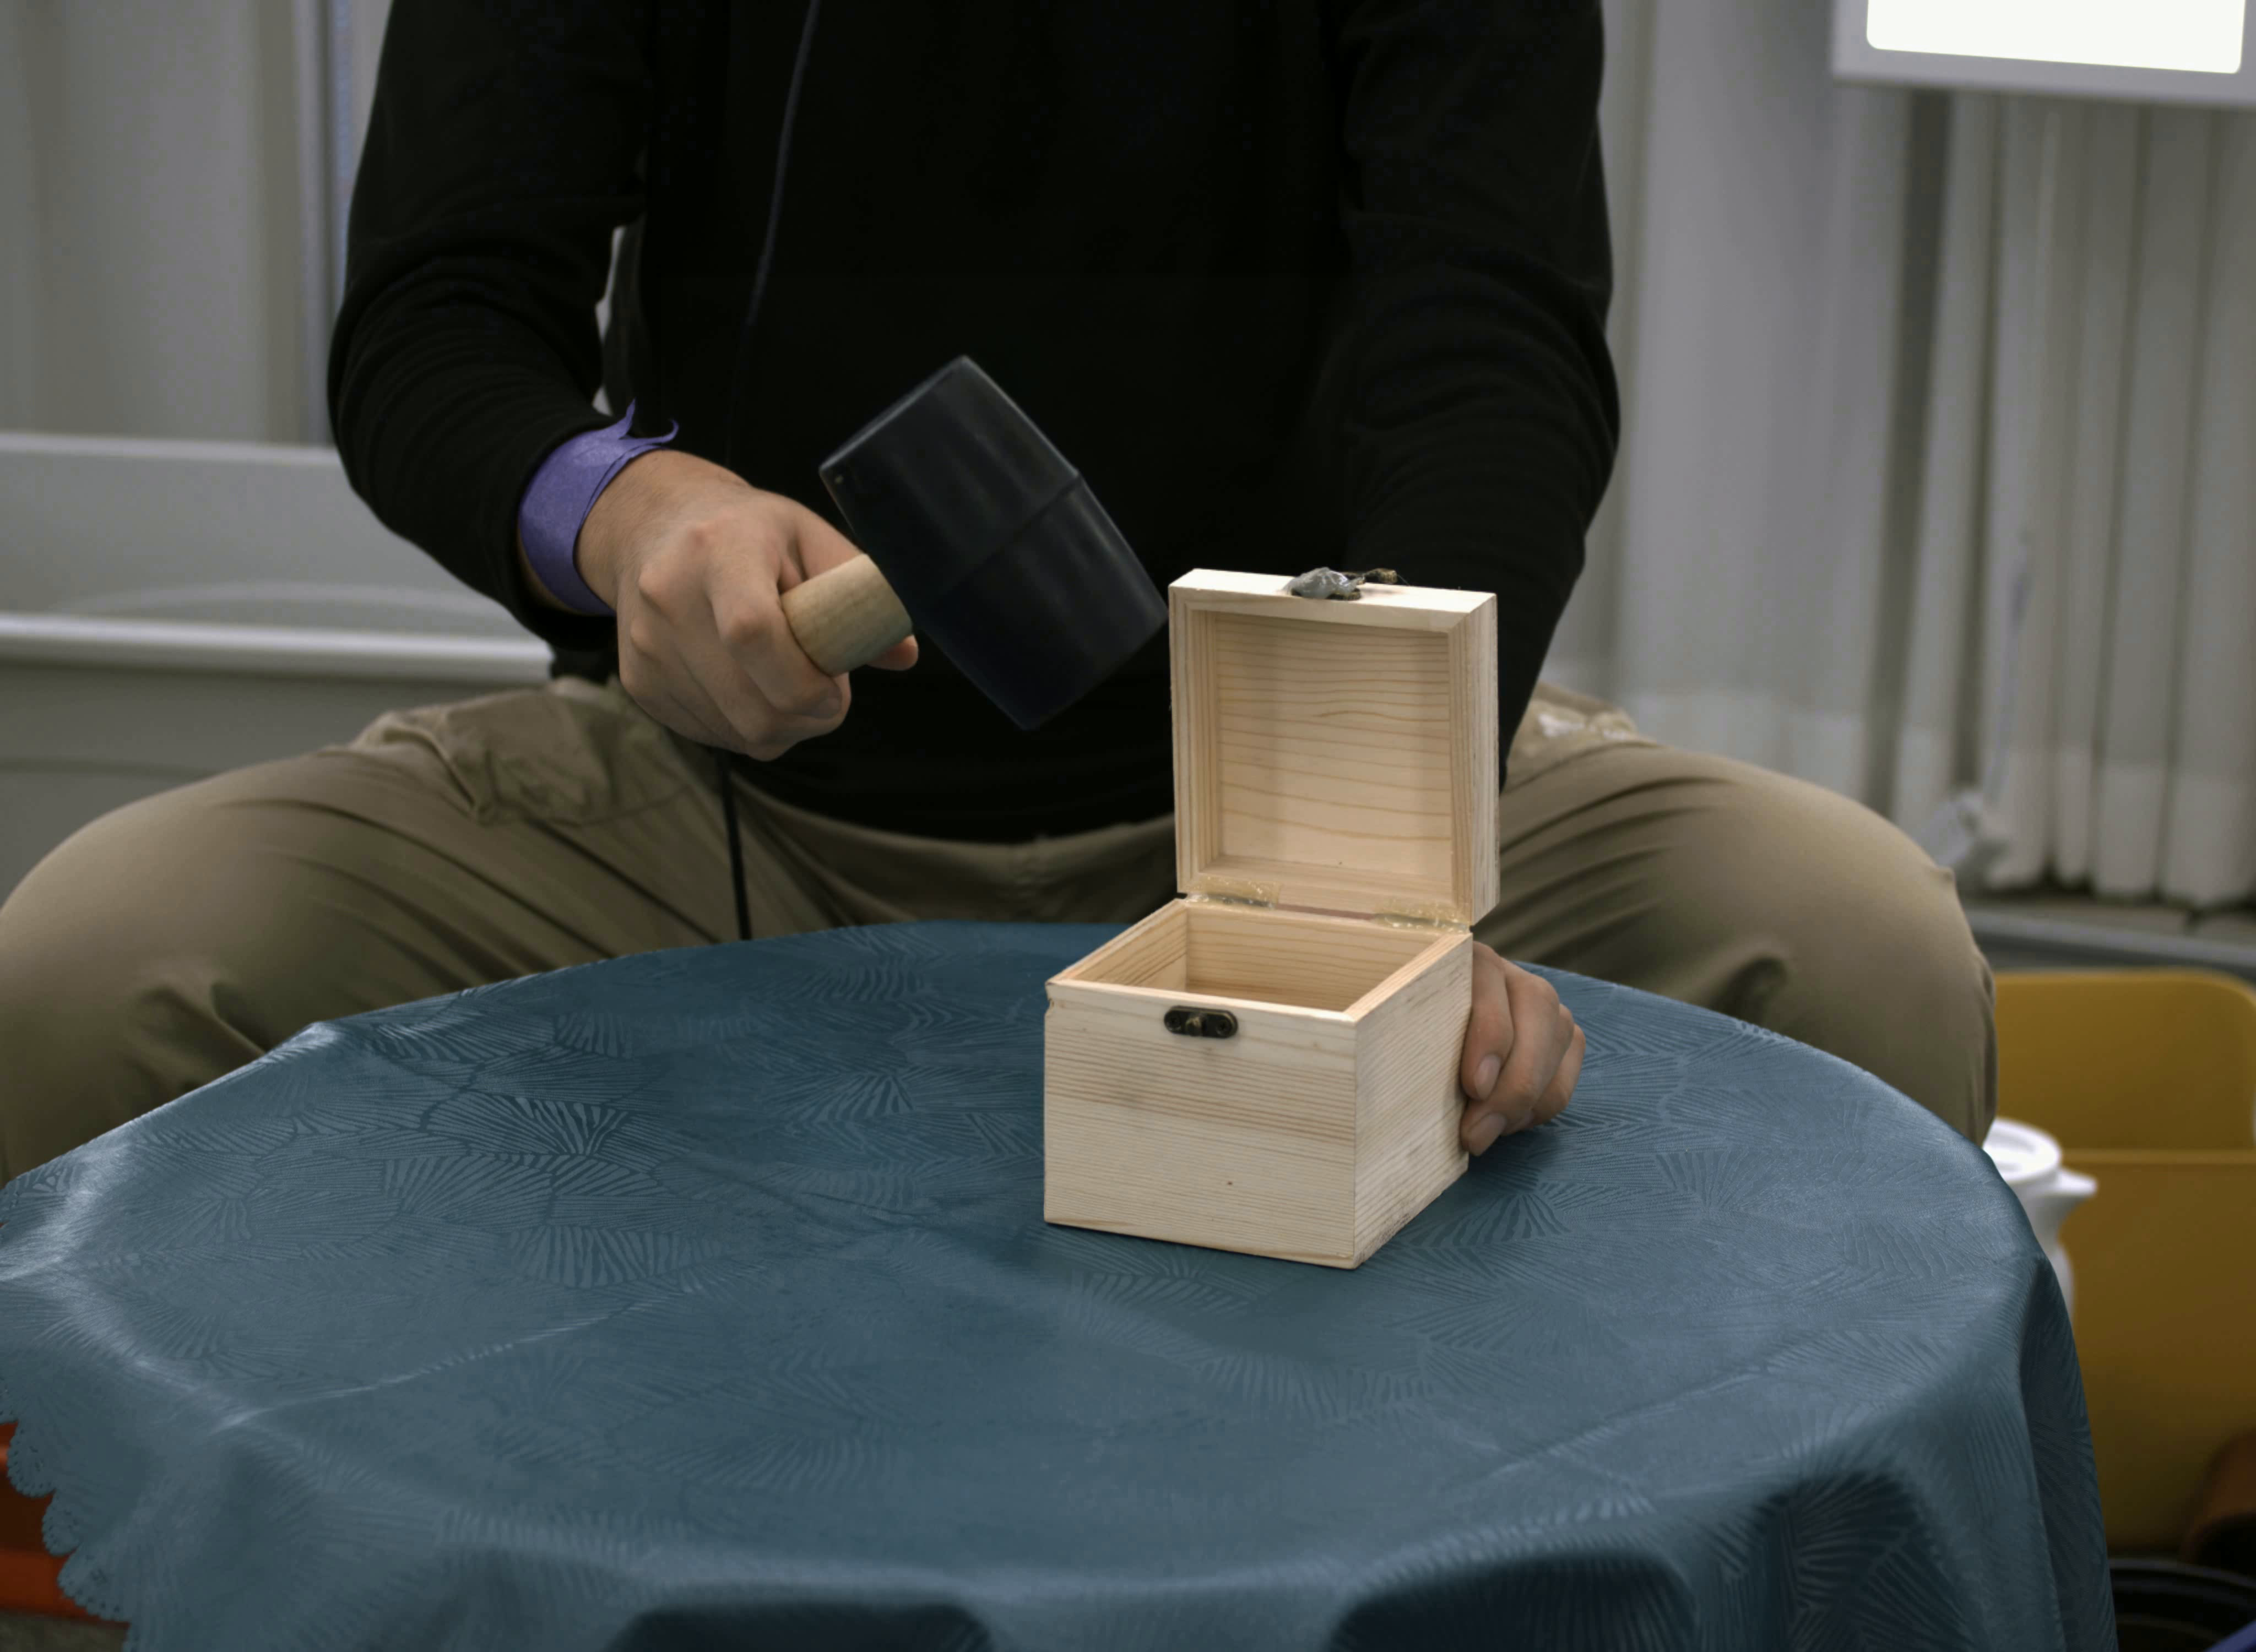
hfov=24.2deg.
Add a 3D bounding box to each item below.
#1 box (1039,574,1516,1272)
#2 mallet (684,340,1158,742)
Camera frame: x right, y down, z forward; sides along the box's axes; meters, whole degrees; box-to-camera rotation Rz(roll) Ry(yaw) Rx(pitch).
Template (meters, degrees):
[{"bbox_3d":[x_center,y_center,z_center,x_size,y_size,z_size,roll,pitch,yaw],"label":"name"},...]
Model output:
[{"bbox_3d":[0.046,0.025,1.602,0.101,0.186,0.134,8,15,22],"label":"box"},{"bbox_3d":[-0.079,-0.071,1.645,0.064,0.102,0.338,-36,4,-17],"label":"mallet"}]
